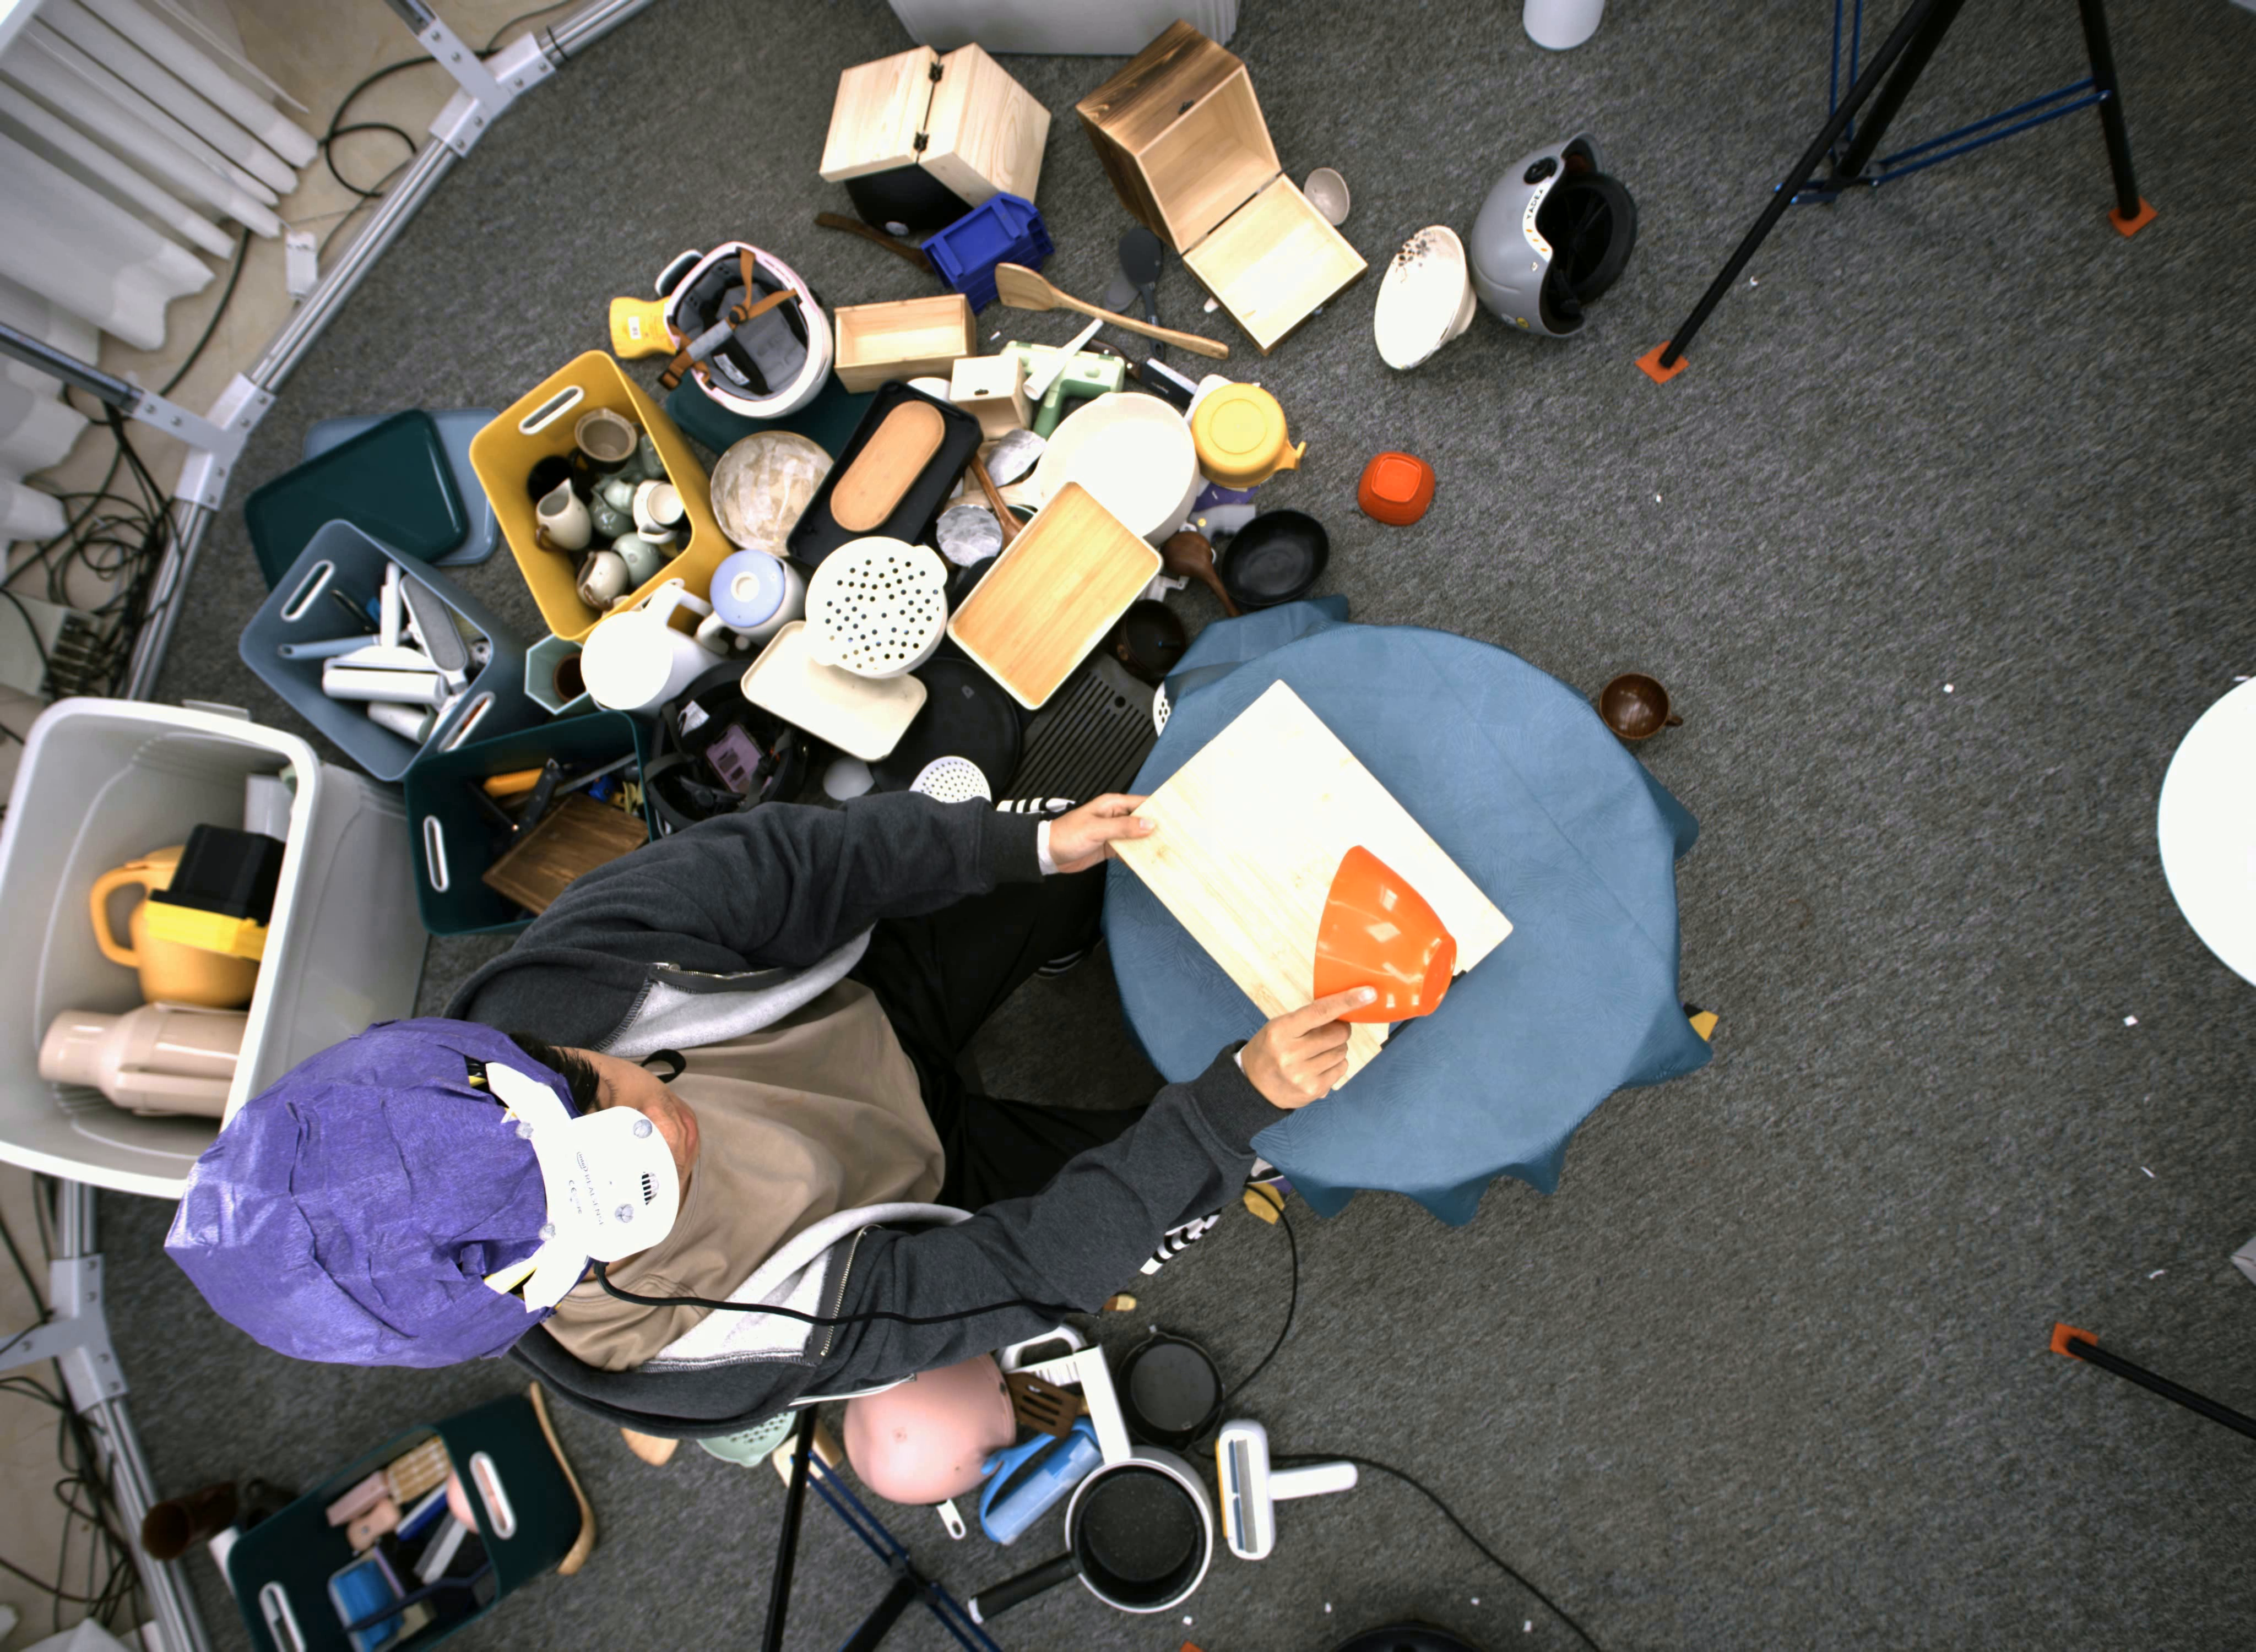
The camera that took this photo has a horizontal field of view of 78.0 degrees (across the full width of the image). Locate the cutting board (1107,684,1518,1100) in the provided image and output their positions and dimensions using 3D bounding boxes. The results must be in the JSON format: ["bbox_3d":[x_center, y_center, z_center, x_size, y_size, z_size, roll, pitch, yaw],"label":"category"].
[{"bbox_3d":[0.182,0.061,1.380,0.251,0.023,0.348,-43,85,3],"label":"cutting board"}]

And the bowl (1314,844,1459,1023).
[{"bbox_3d":[0.215,0.098,1.133,0.104,0.148,0.148,21,89,30],"label":"bowl"}]
